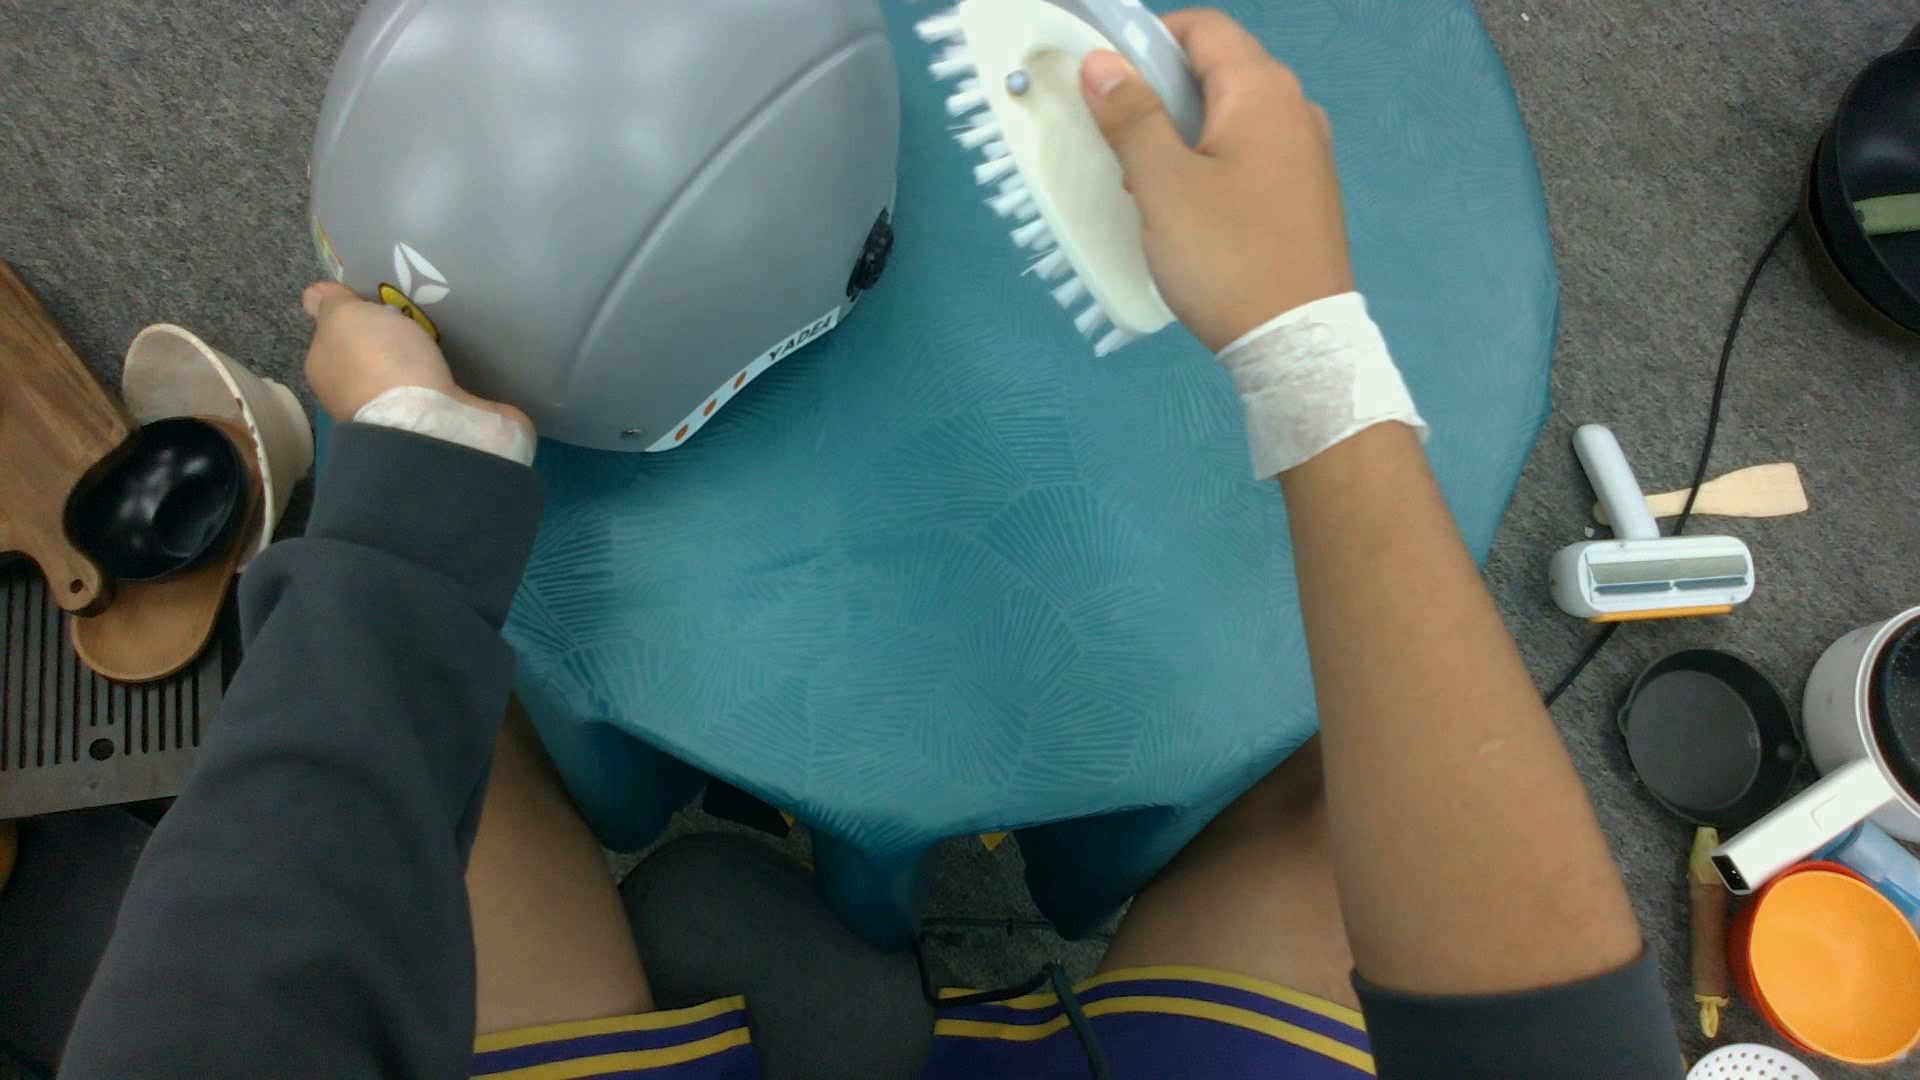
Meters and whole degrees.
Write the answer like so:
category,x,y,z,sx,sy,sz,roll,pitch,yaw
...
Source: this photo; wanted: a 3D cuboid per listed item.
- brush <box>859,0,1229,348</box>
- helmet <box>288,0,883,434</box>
category,x,y,z,sx,sy,sz,roll,pitch,yaw
brush,0.031,-0.158,0.494,0.062,0.094,0.175,-45,104,-27
helmet,-0.139,-0.189,0.568,0.232,0.168,0.277,41,67,-4
